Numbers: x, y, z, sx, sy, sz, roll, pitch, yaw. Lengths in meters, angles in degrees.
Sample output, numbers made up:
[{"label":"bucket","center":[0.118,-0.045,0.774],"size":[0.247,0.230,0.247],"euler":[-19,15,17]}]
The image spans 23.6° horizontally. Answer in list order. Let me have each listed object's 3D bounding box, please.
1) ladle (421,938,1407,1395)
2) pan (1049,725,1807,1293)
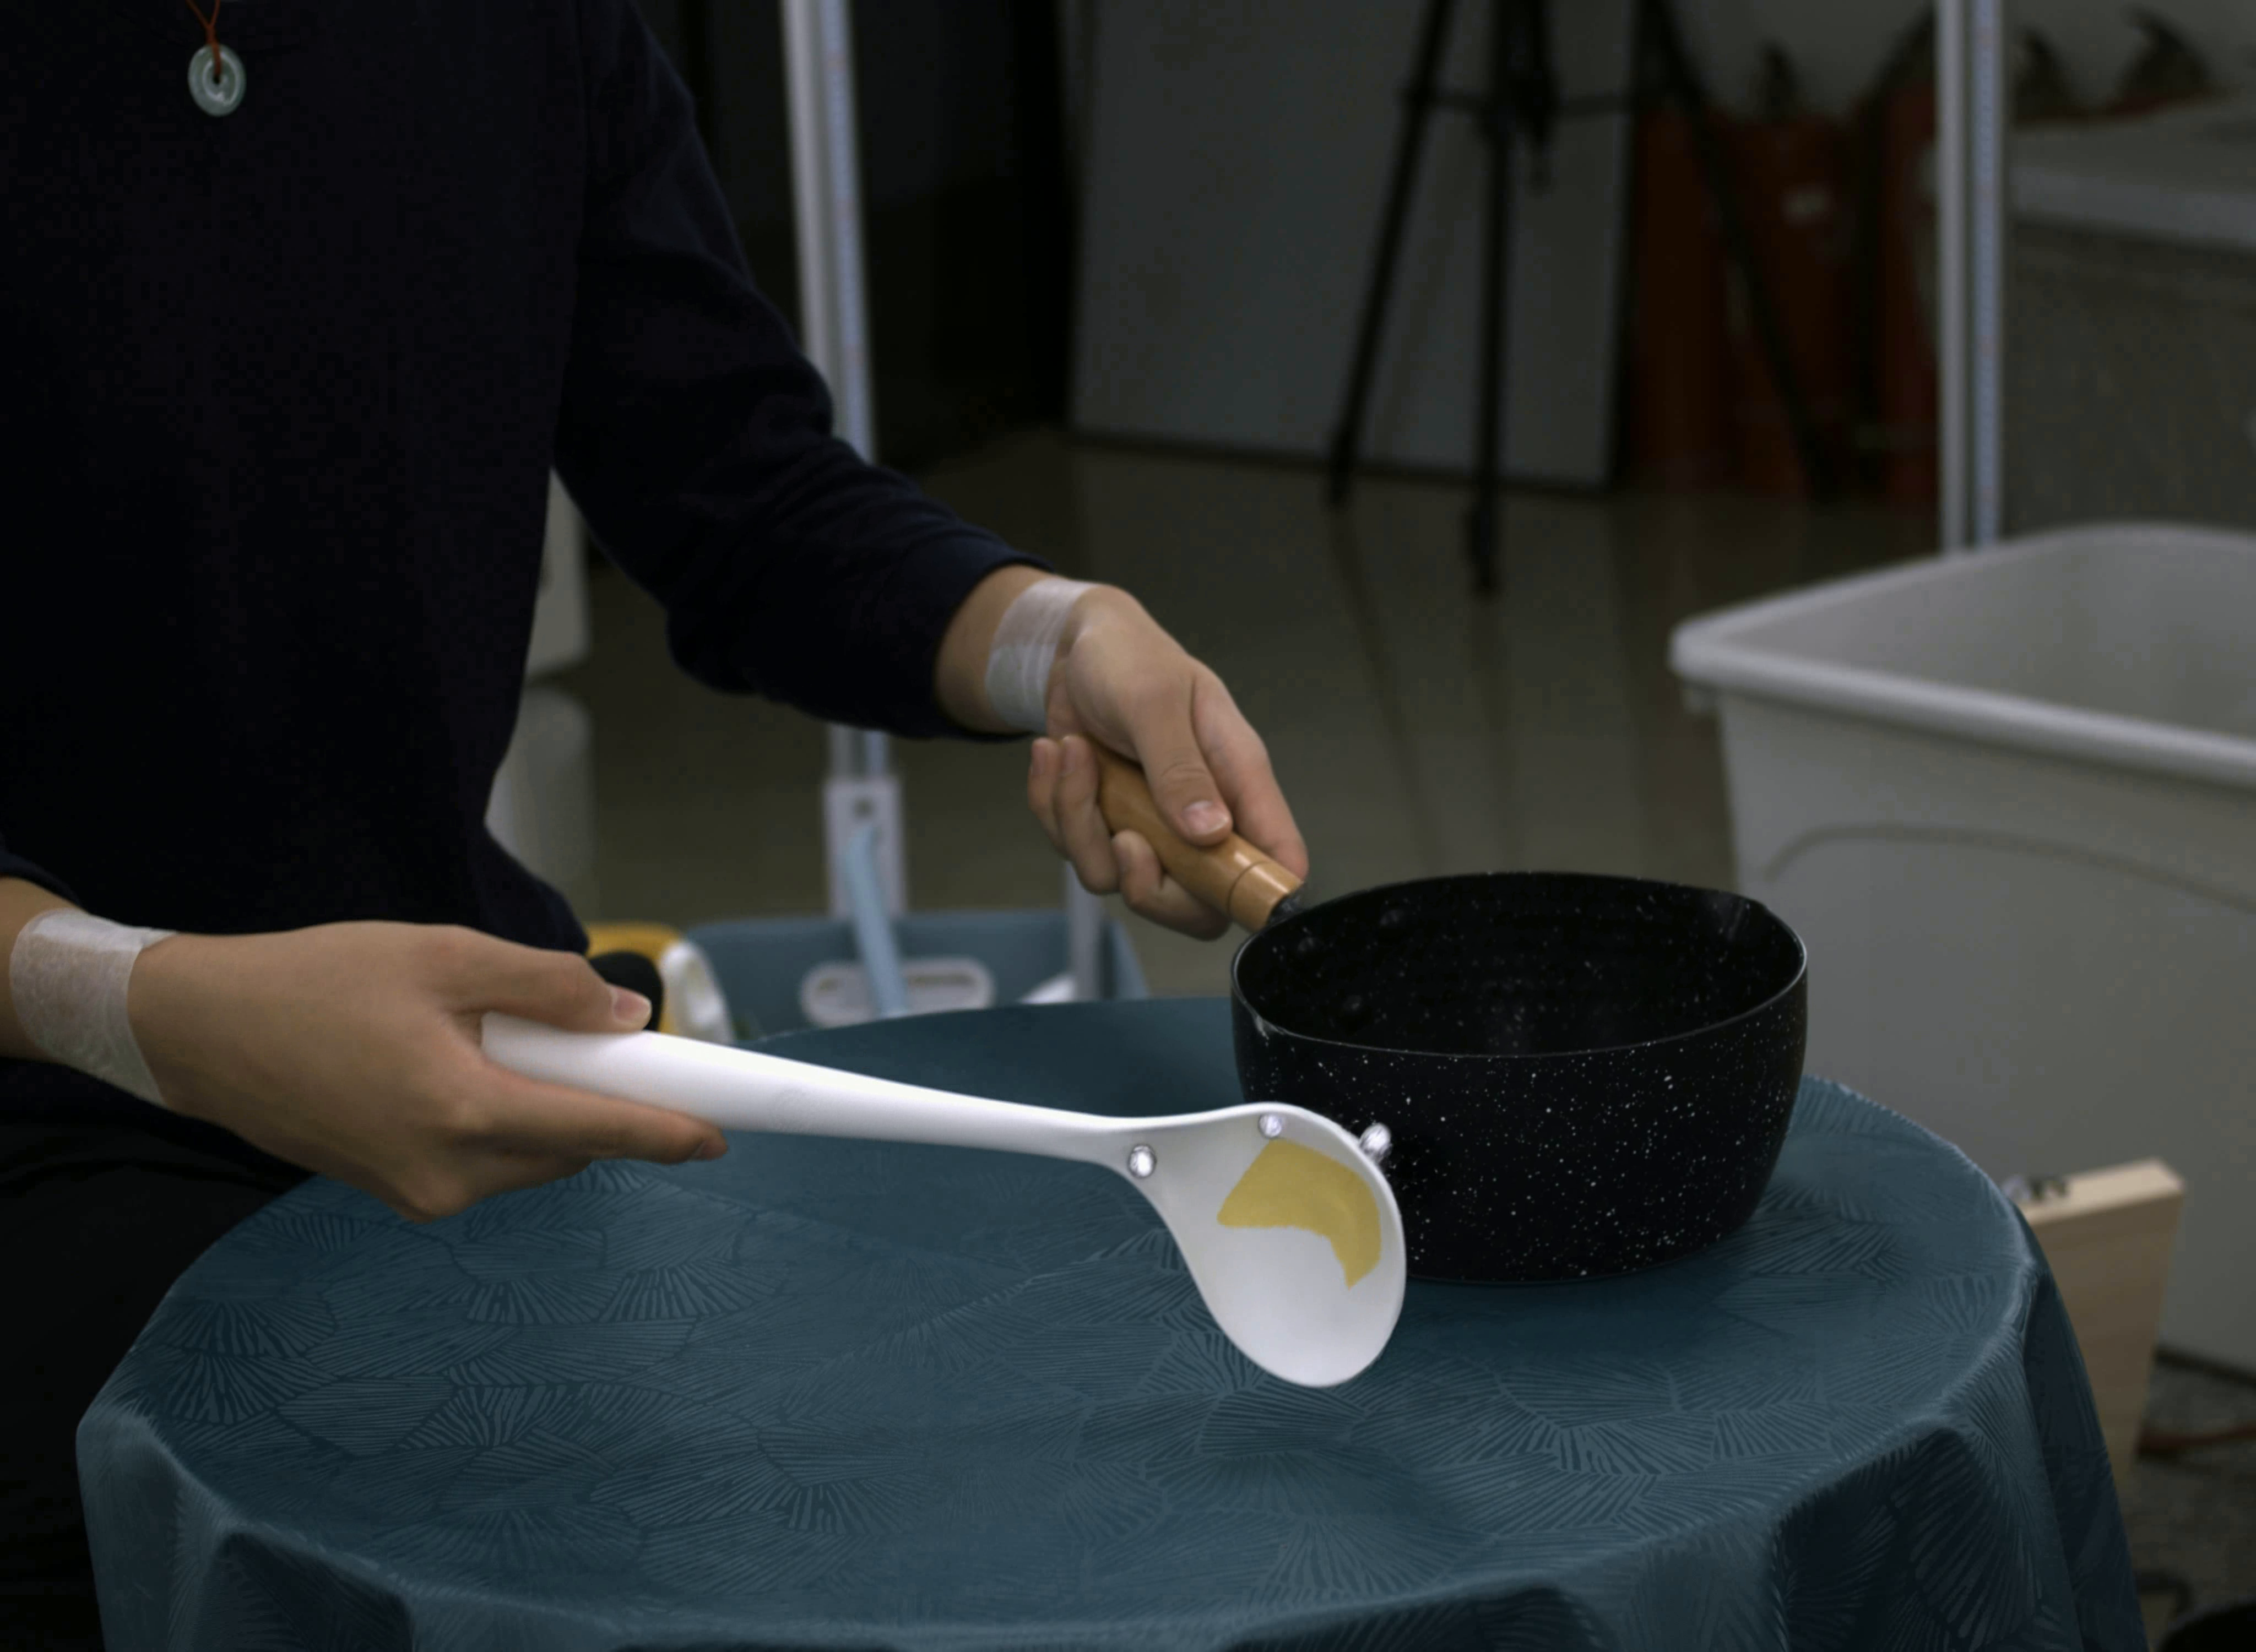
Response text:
[{"label":"ladle","center":[-0.061,0.091,1.537],"size":[0.289,0.091,0.070],"euler":[13,36,-3]},{"label":"pan","center":[0.077,0.054,1.769],"size":[0.203,0.109,0.346],"euler":[-16,21,-33]}]
